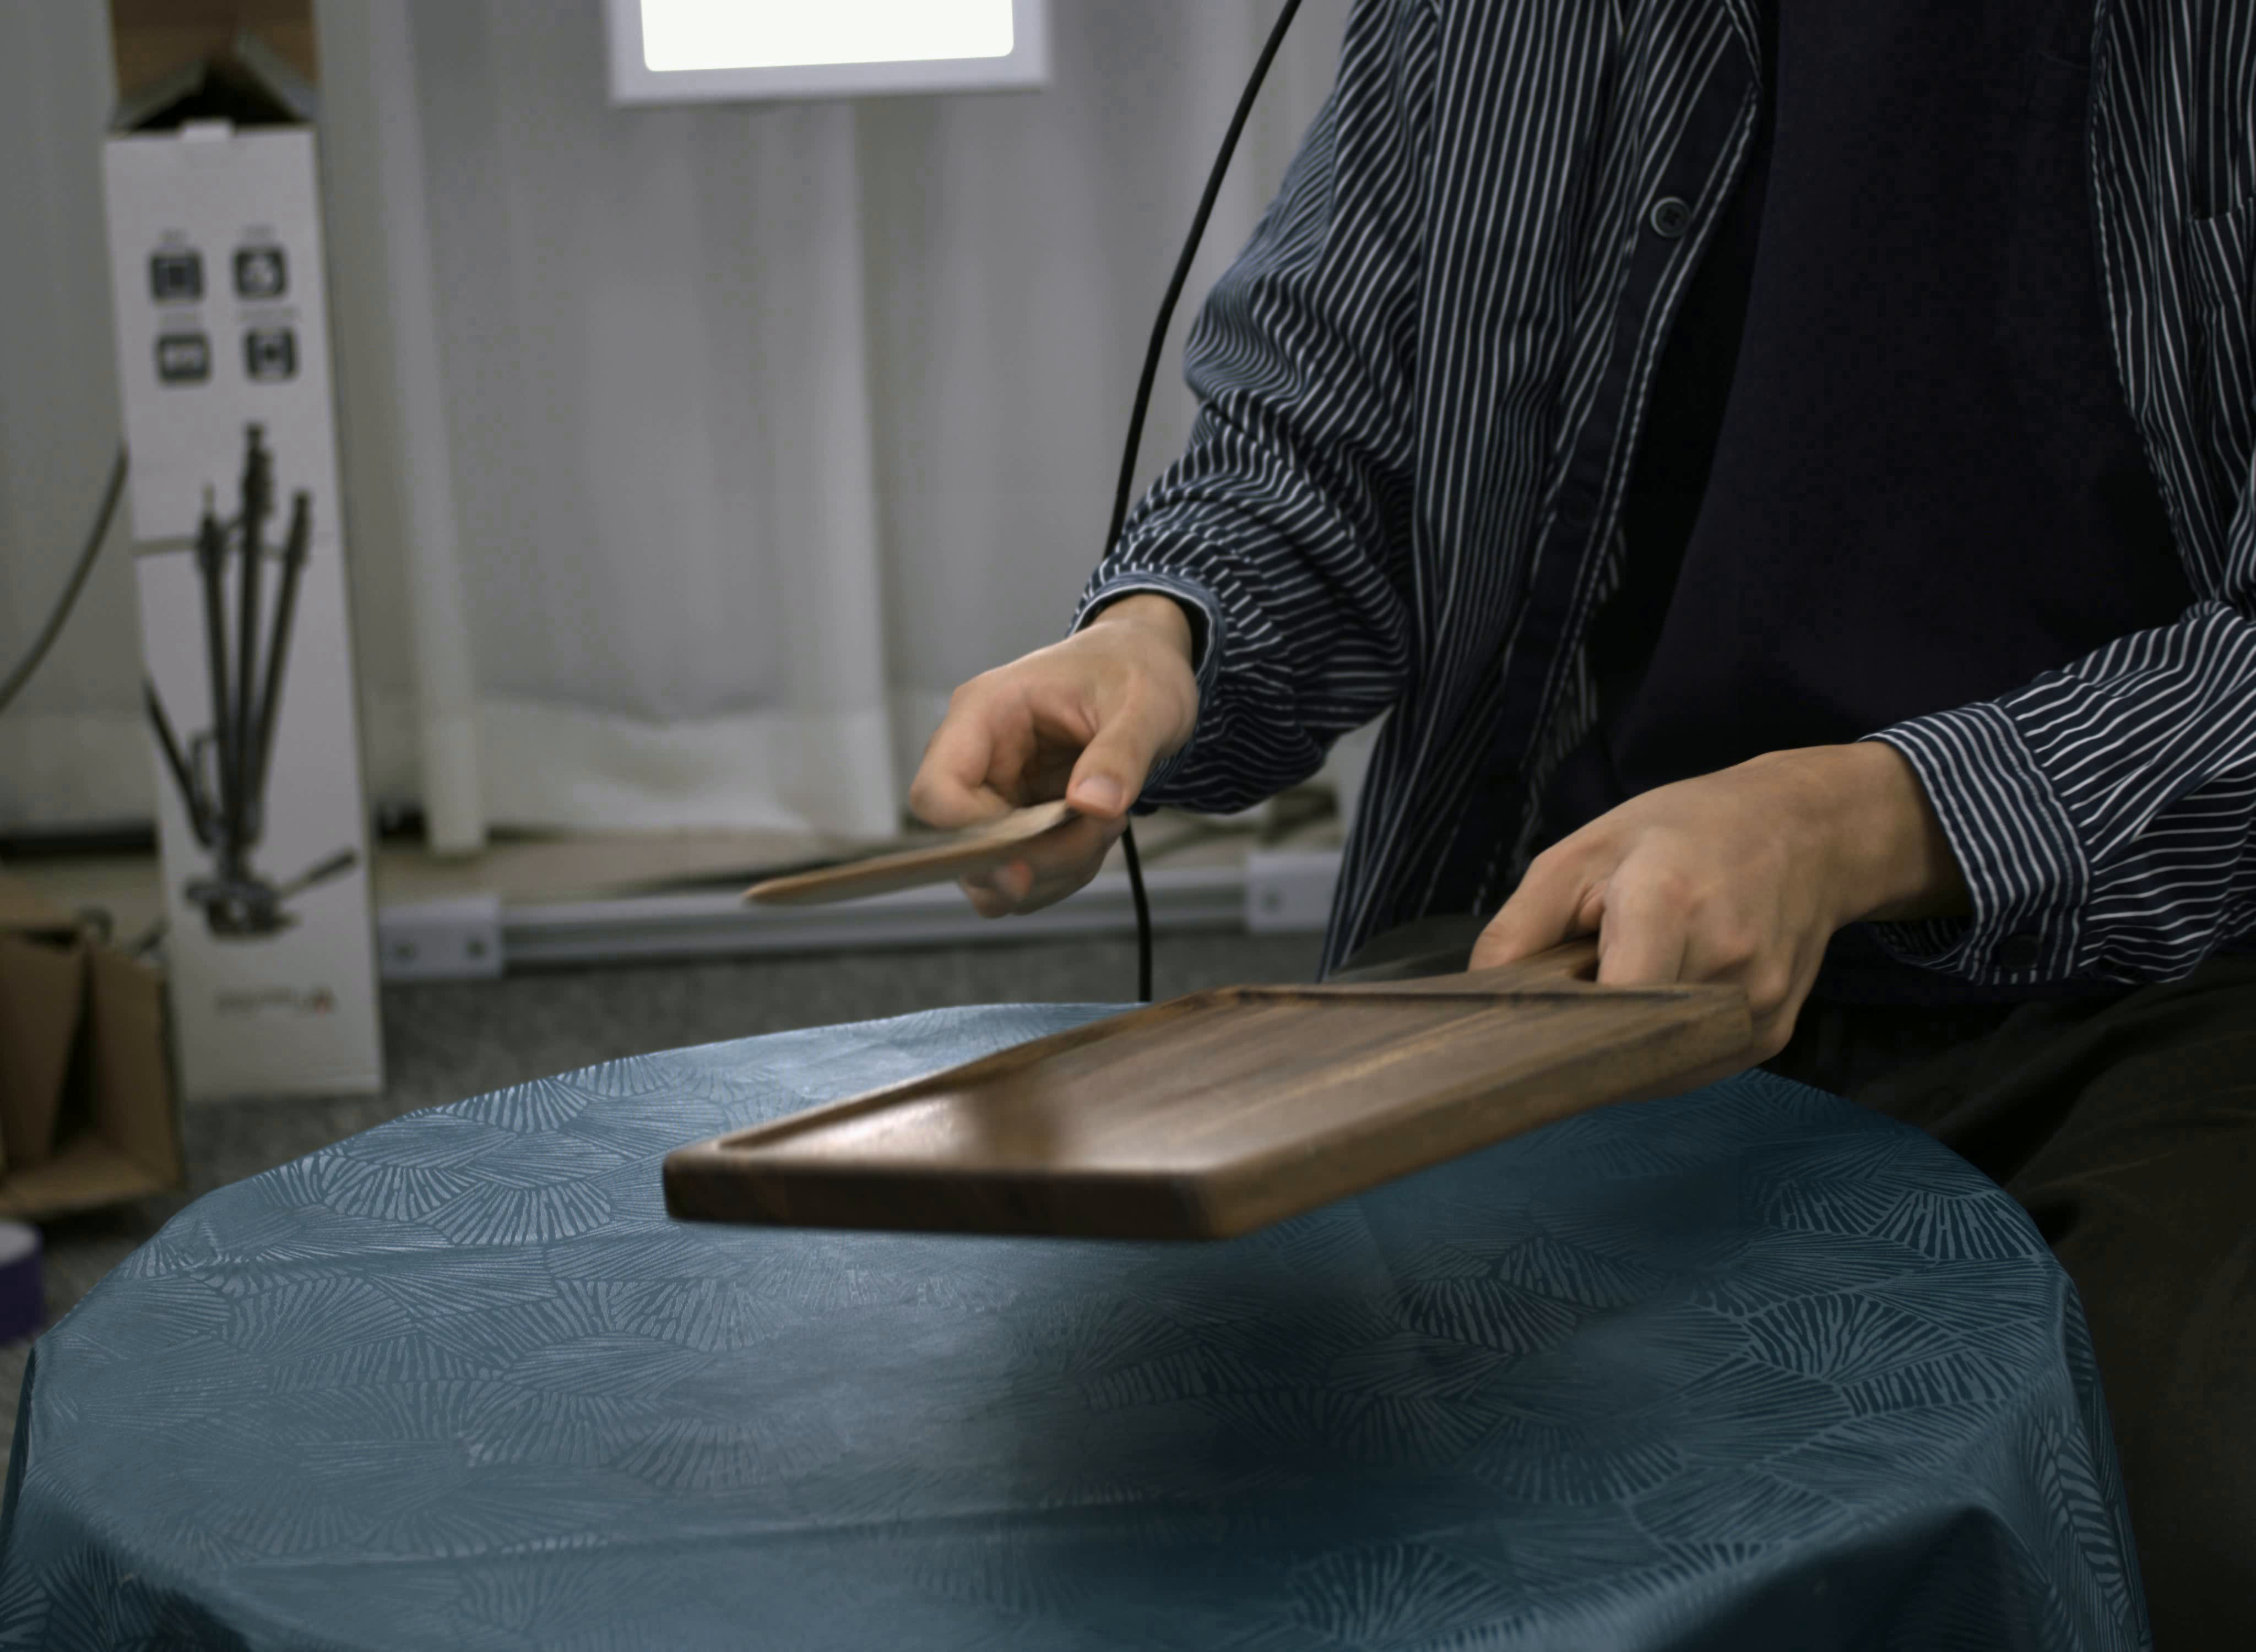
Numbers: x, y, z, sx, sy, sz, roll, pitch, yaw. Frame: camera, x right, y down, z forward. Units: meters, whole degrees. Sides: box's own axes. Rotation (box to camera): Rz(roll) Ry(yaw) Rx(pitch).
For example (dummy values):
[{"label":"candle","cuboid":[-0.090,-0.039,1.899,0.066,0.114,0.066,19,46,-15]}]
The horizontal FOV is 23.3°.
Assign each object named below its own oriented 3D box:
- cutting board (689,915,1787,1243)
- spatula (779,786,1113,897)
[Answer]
[{"label":"cutting board","cuboid":[0.064,0.066,1.528,0.201,0.023,0.351,-1,9,41]},{"label":"spatula","cuboid":[-0.038,0.000,1.669,0.080,0.016,0.328,-12,3,9]}]
